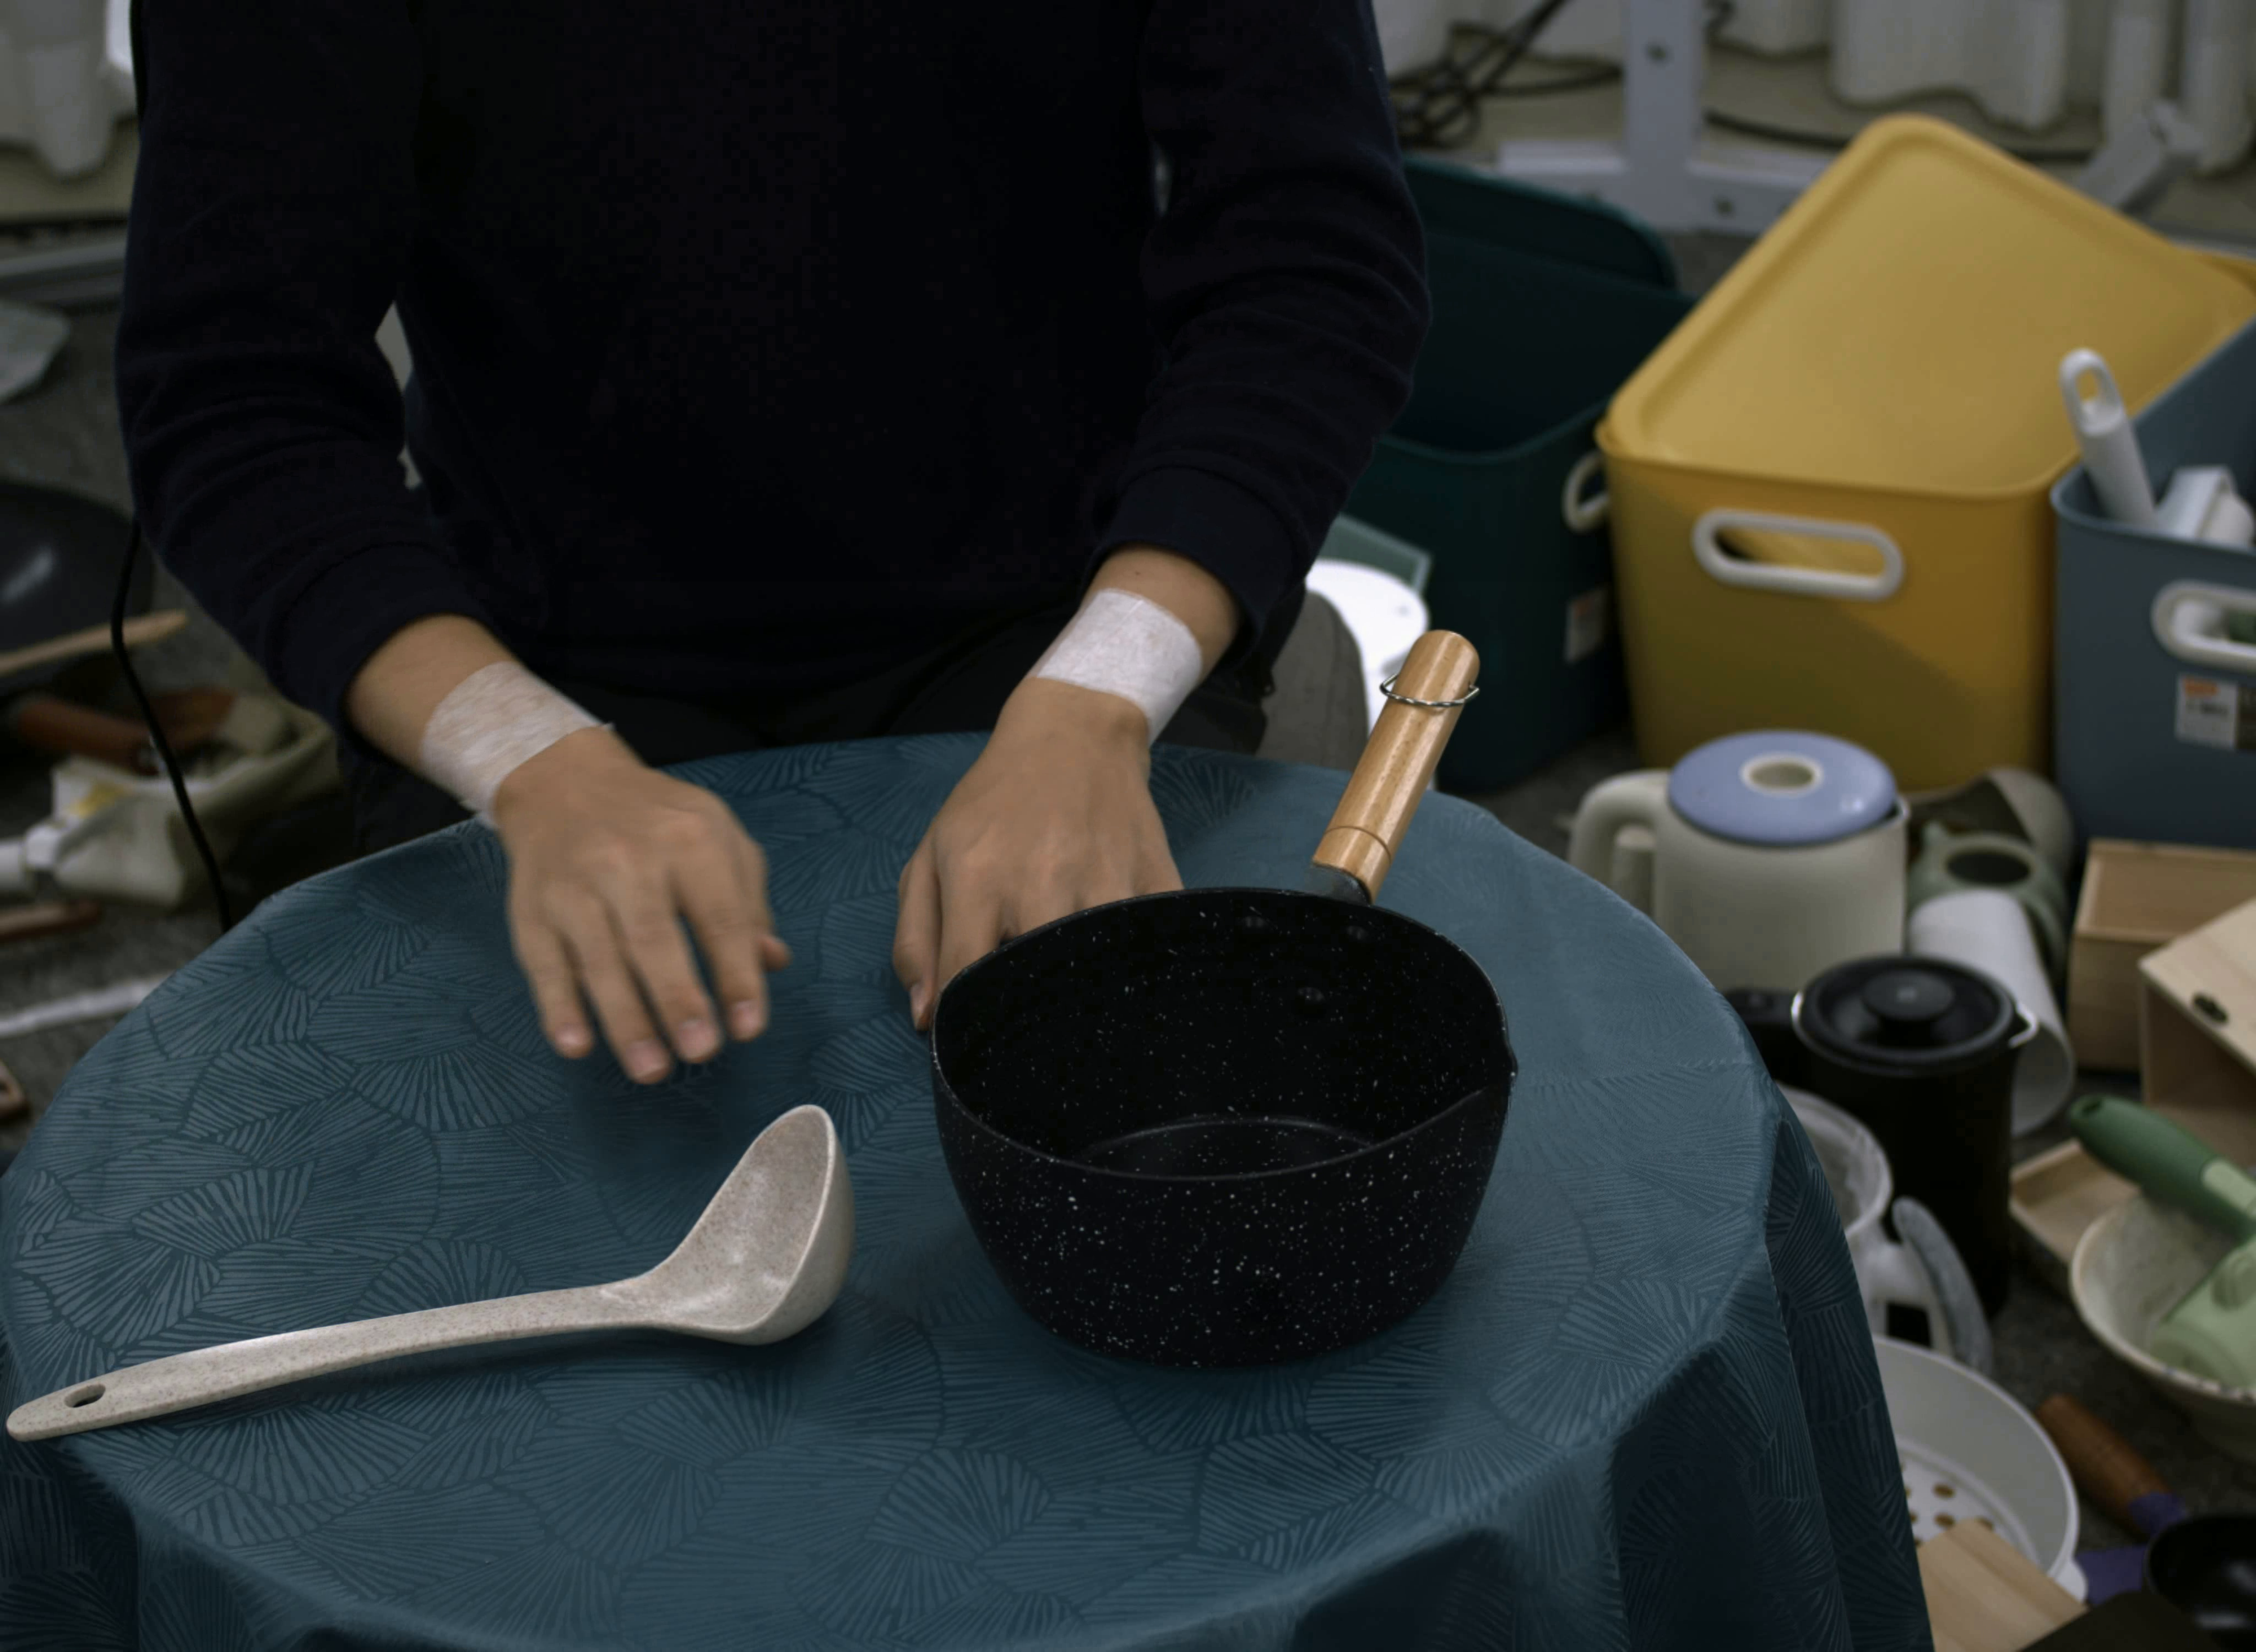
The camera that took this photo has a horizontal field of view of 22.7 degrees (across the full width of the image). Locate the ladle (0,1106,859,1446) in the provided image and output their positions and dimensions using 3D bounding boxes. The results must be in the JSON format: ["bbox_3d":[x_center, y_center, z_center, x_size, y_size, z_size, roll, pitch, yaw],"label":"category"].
[{"bbox_3d":[-0.220,0.144,1.770,0.274,0.068,0.090,-8,33,-9],"label":"ladle"}]

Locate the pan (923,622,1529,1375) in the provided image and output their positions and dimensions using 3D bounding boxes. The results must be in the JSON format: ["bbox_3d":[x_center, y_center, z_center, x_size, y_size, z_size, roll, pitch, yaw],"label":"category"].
[{"bbox_3d":[0.056,0.053,1.872,0.206,0.107,0.349,6,30,19],"label":"pan"}]
